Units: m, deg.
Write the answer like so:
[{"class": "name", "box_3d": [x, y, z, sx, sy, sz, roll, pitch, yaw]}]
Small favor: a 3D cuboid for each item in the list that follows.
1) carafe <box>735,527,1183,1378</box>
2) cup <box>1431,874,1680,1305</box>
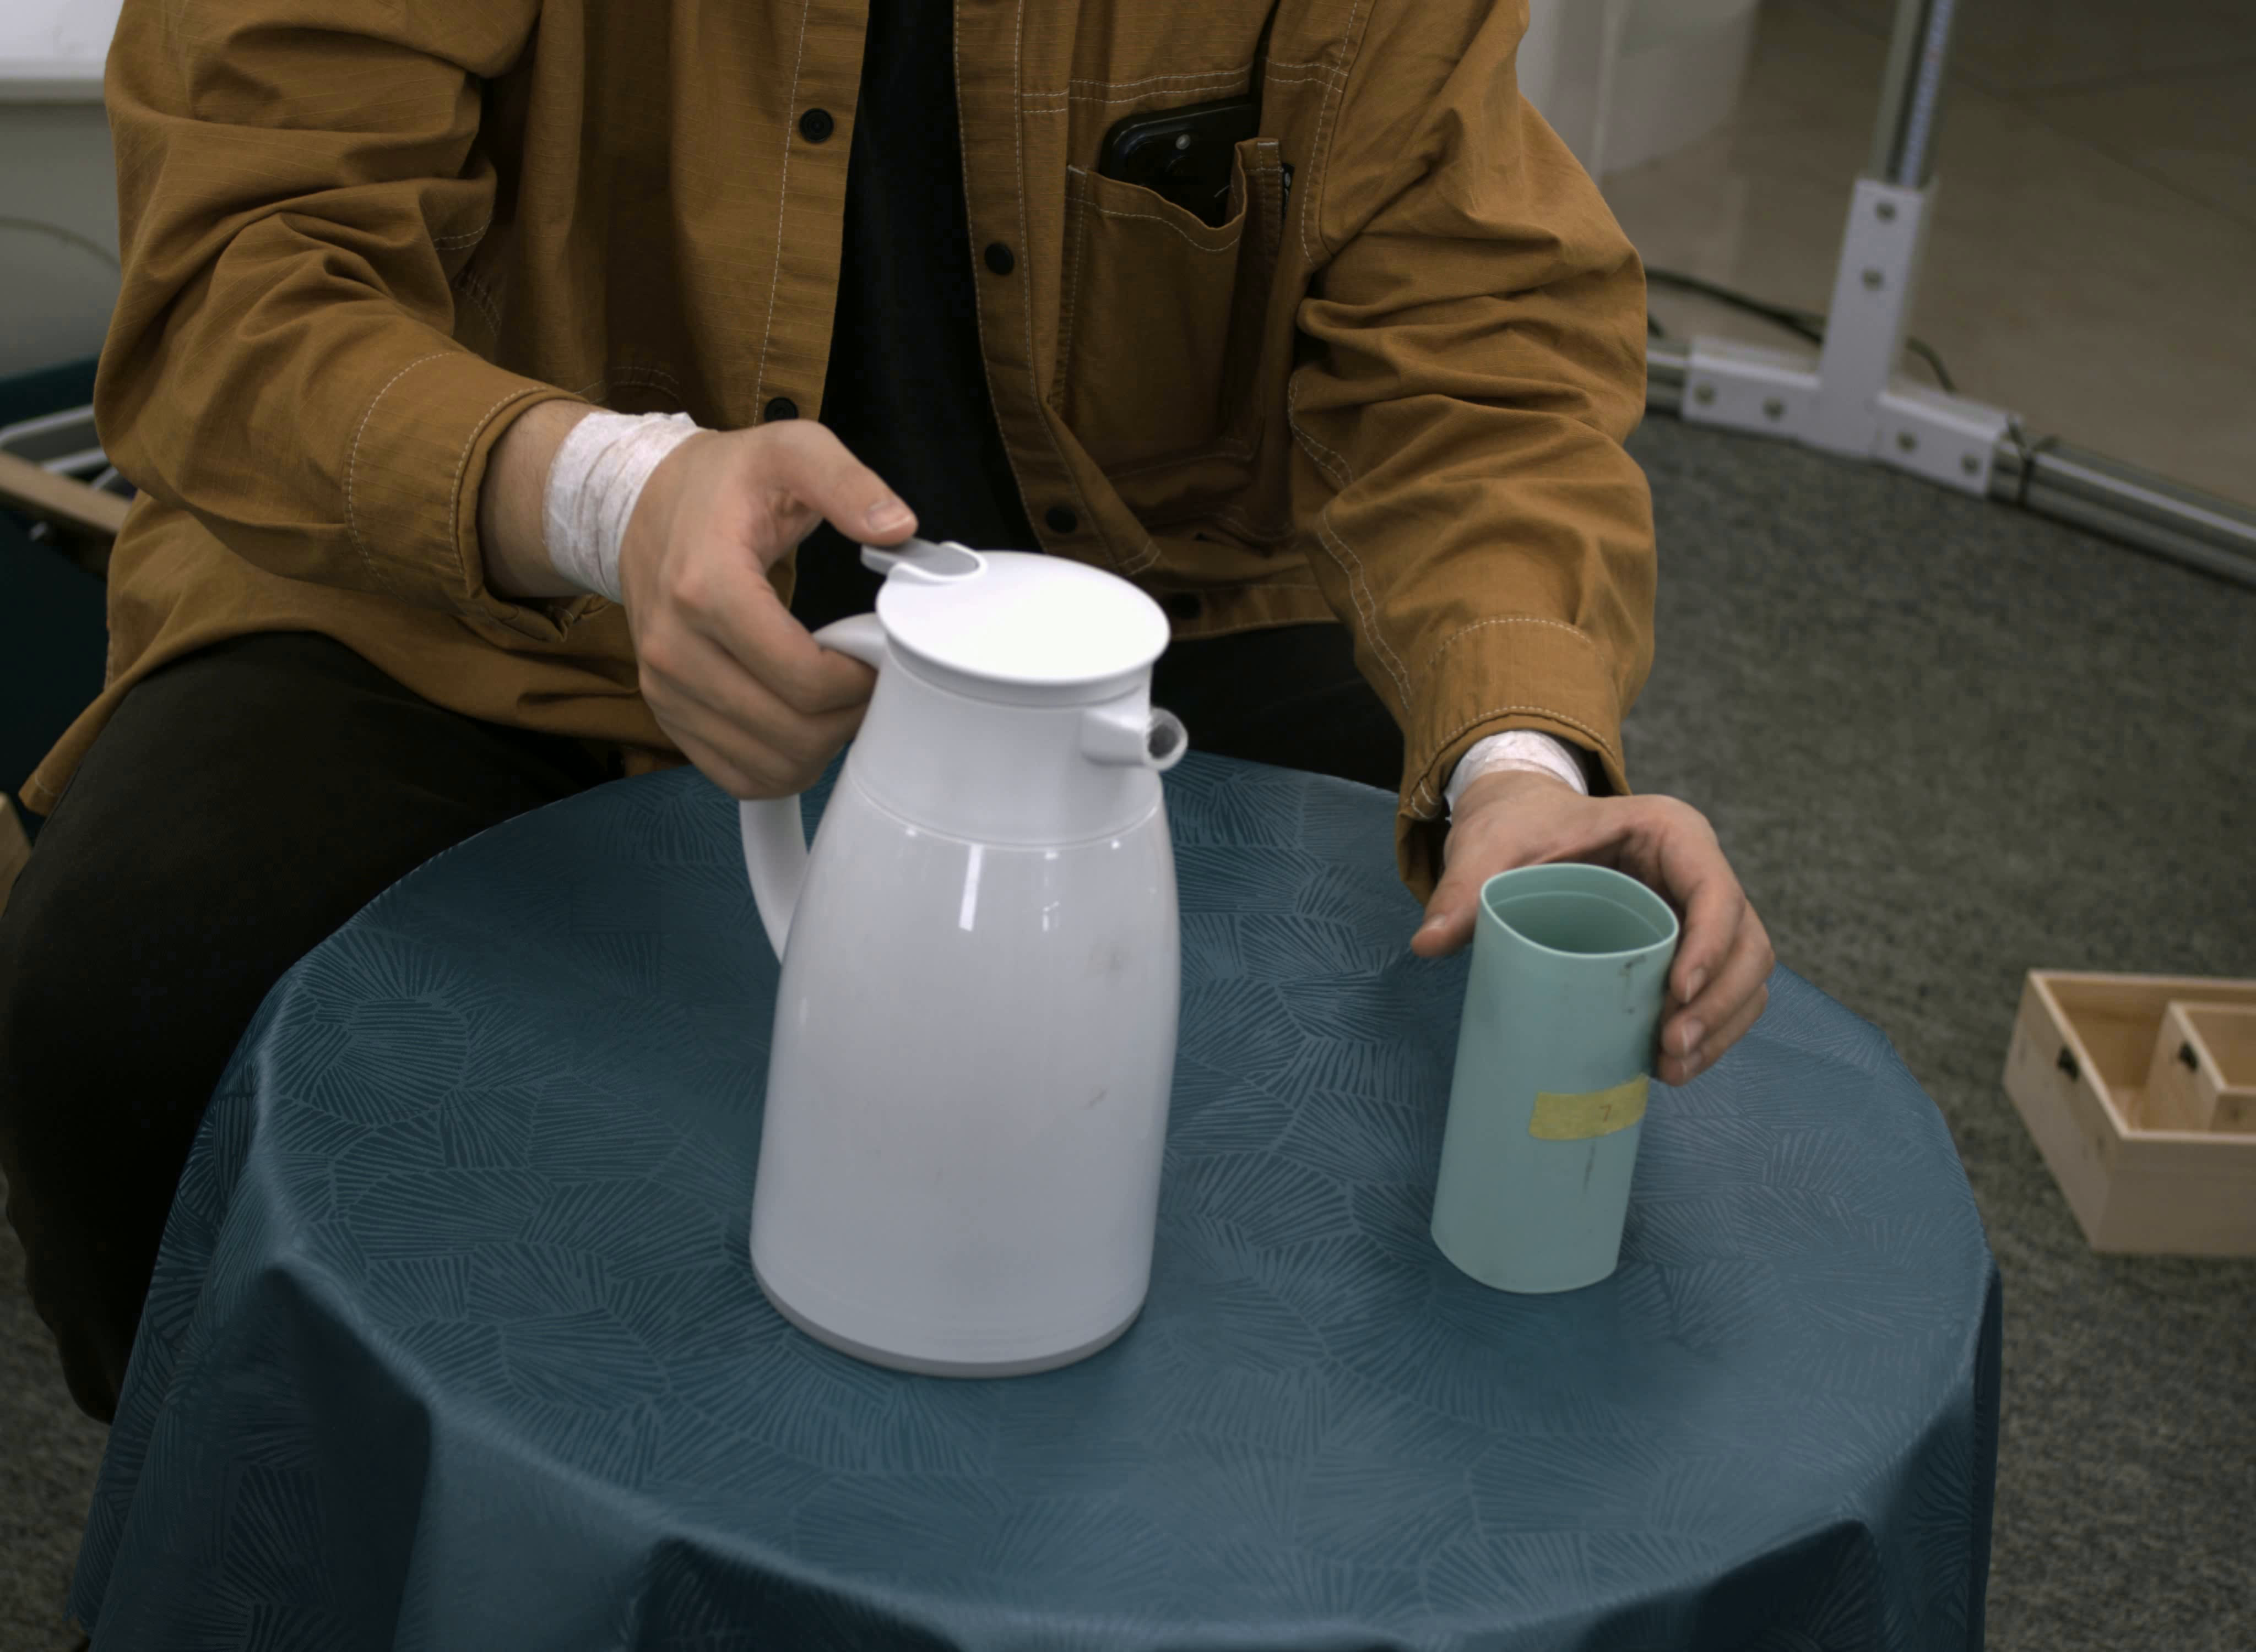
[{"class": "carafe", "box_3d": [-0.062, 0.030, 1.703, 0.169, 0.248, 0.132, 25, 32, 33]}, {"class": "cup", "box_3d": [0.141, 0.087, 1.772, 0.066, 0.132, 0.067, 6, 27, -3]}]
